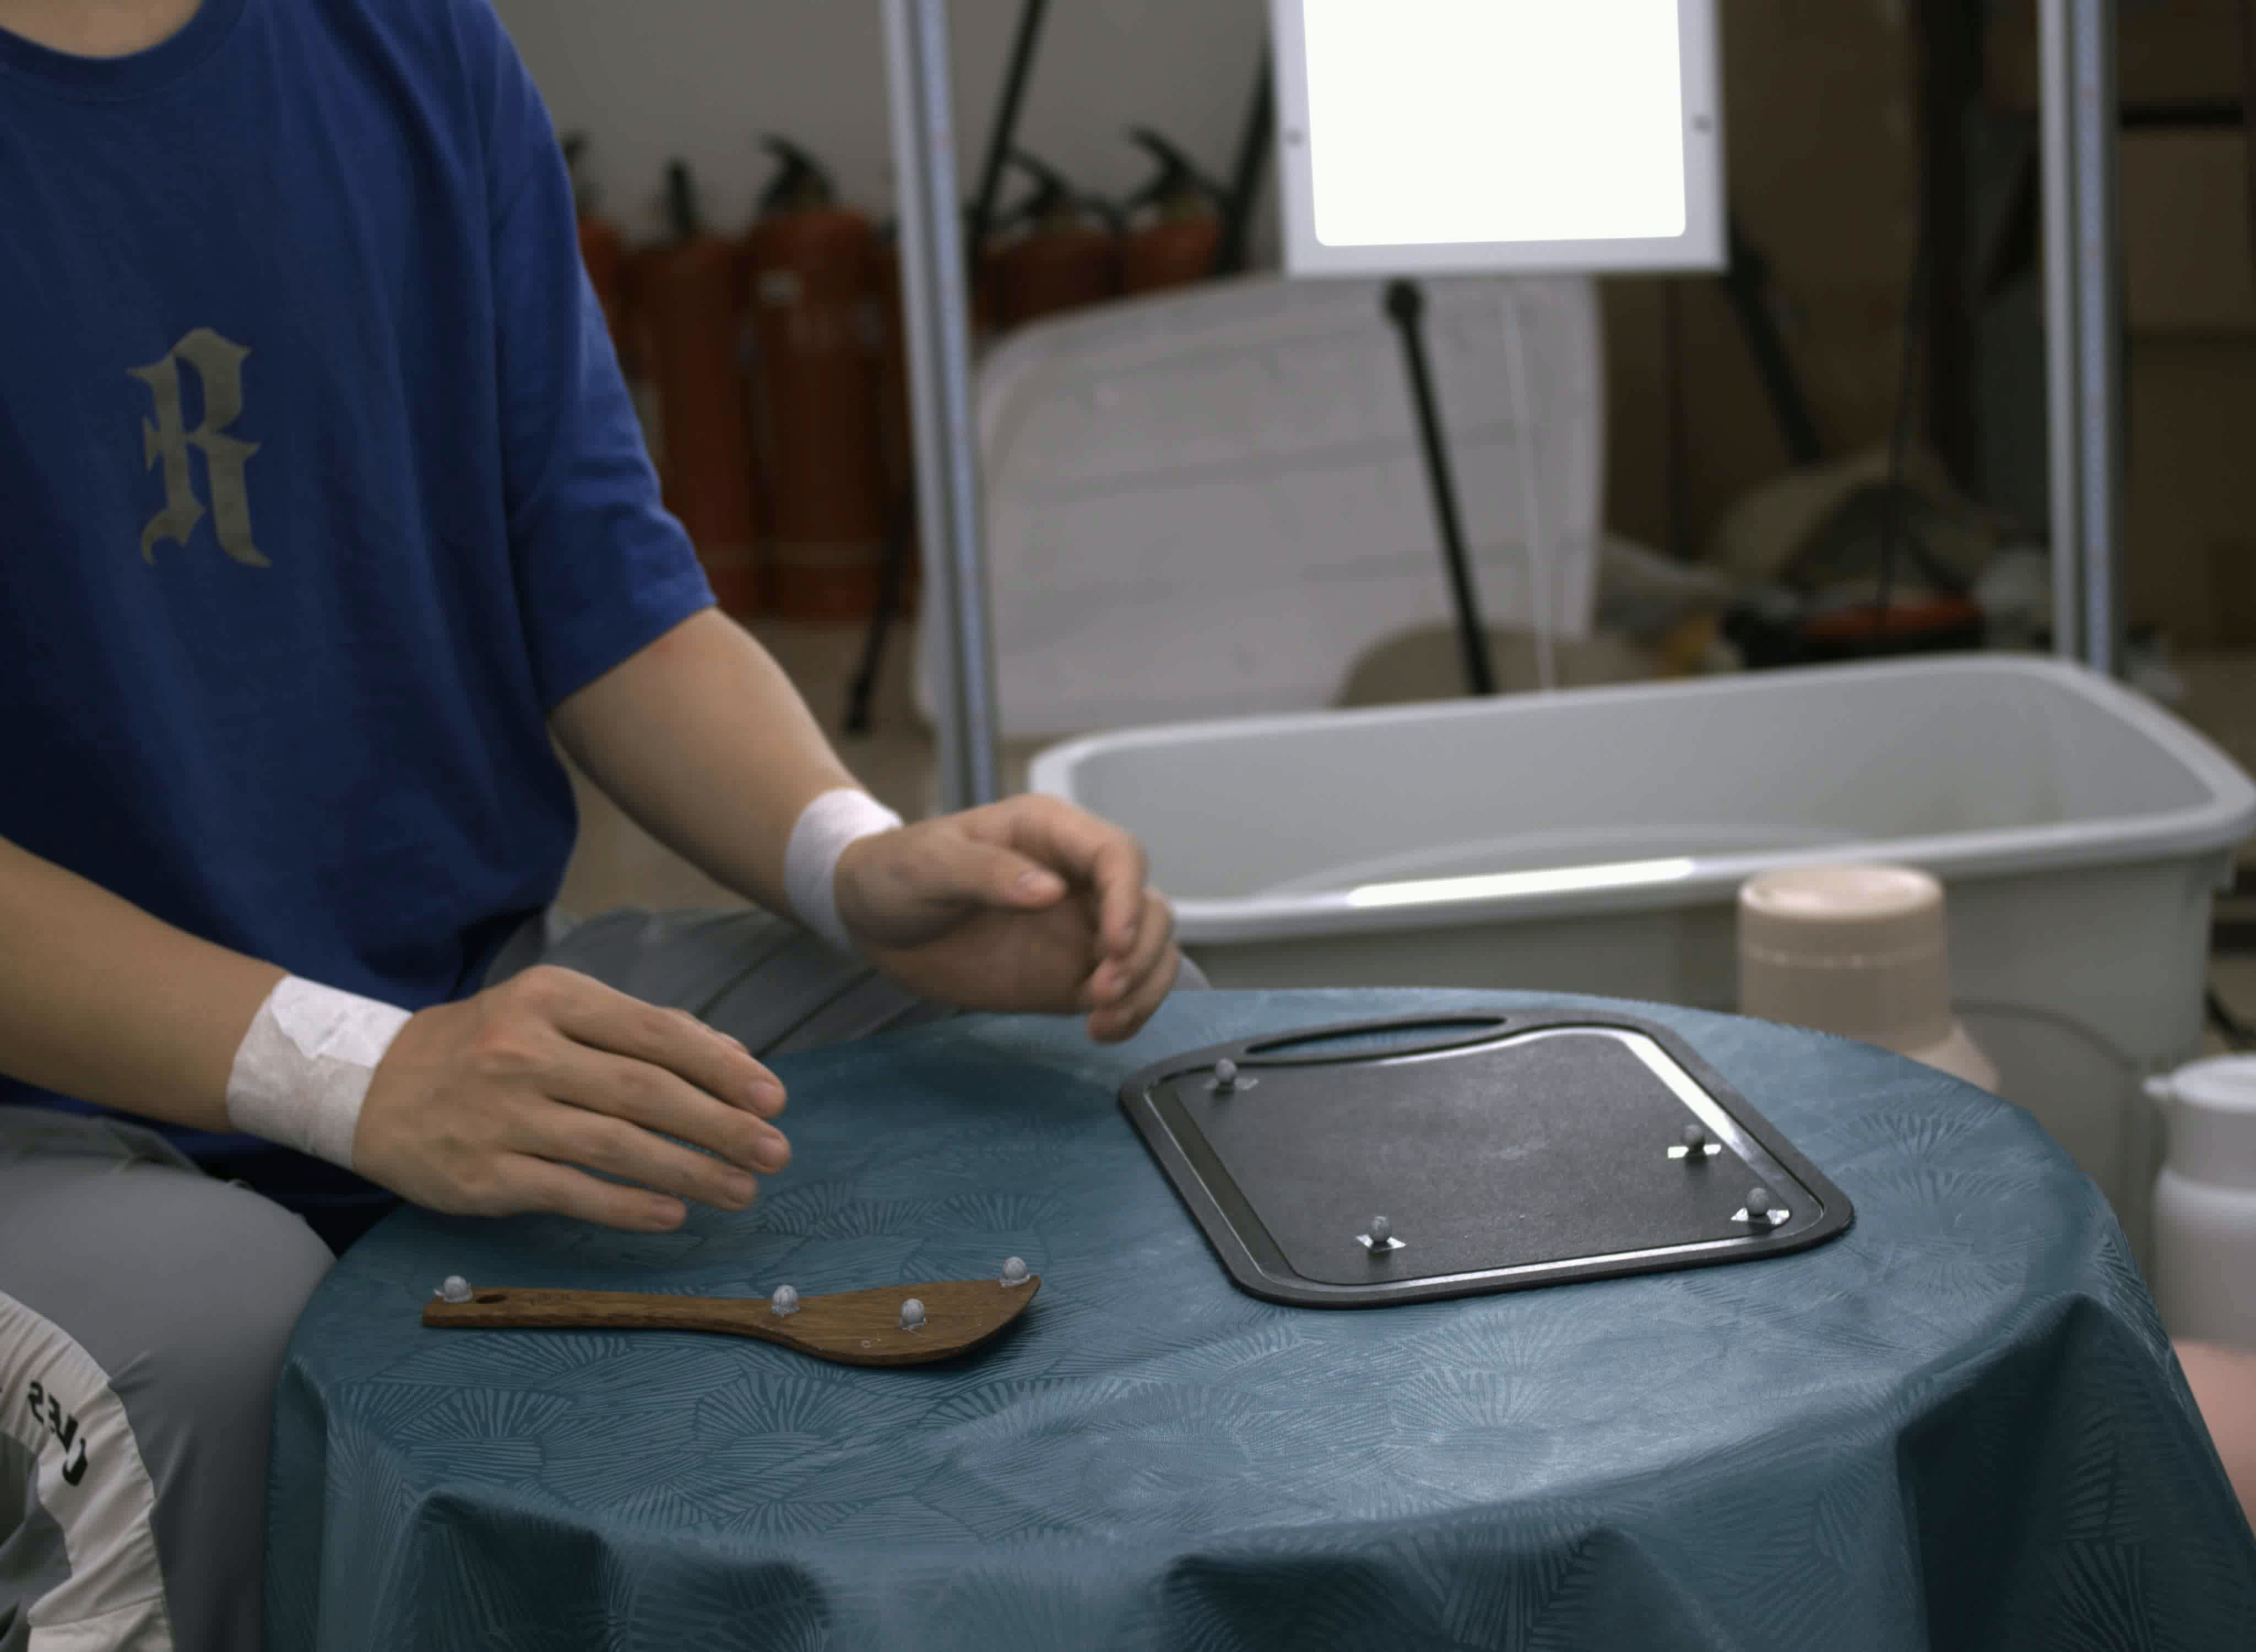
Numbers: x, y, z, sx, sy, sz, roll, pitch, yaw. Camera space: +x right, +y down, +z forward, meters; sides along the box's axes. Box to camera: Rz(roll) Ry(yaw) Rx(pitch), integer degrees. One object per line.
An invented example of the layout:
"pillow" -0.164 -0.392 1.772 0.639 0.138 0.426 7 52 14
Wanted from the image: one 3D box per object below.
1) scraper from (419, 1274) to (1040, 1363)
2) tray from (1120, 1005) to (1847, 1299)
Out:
"scraper" -0.133 0.158 1.796 0.214 0.011 0.074 0 14 22
"tray" 0.115 0.107 1.917 0.209 0.010 0.327 -7 14 -7
